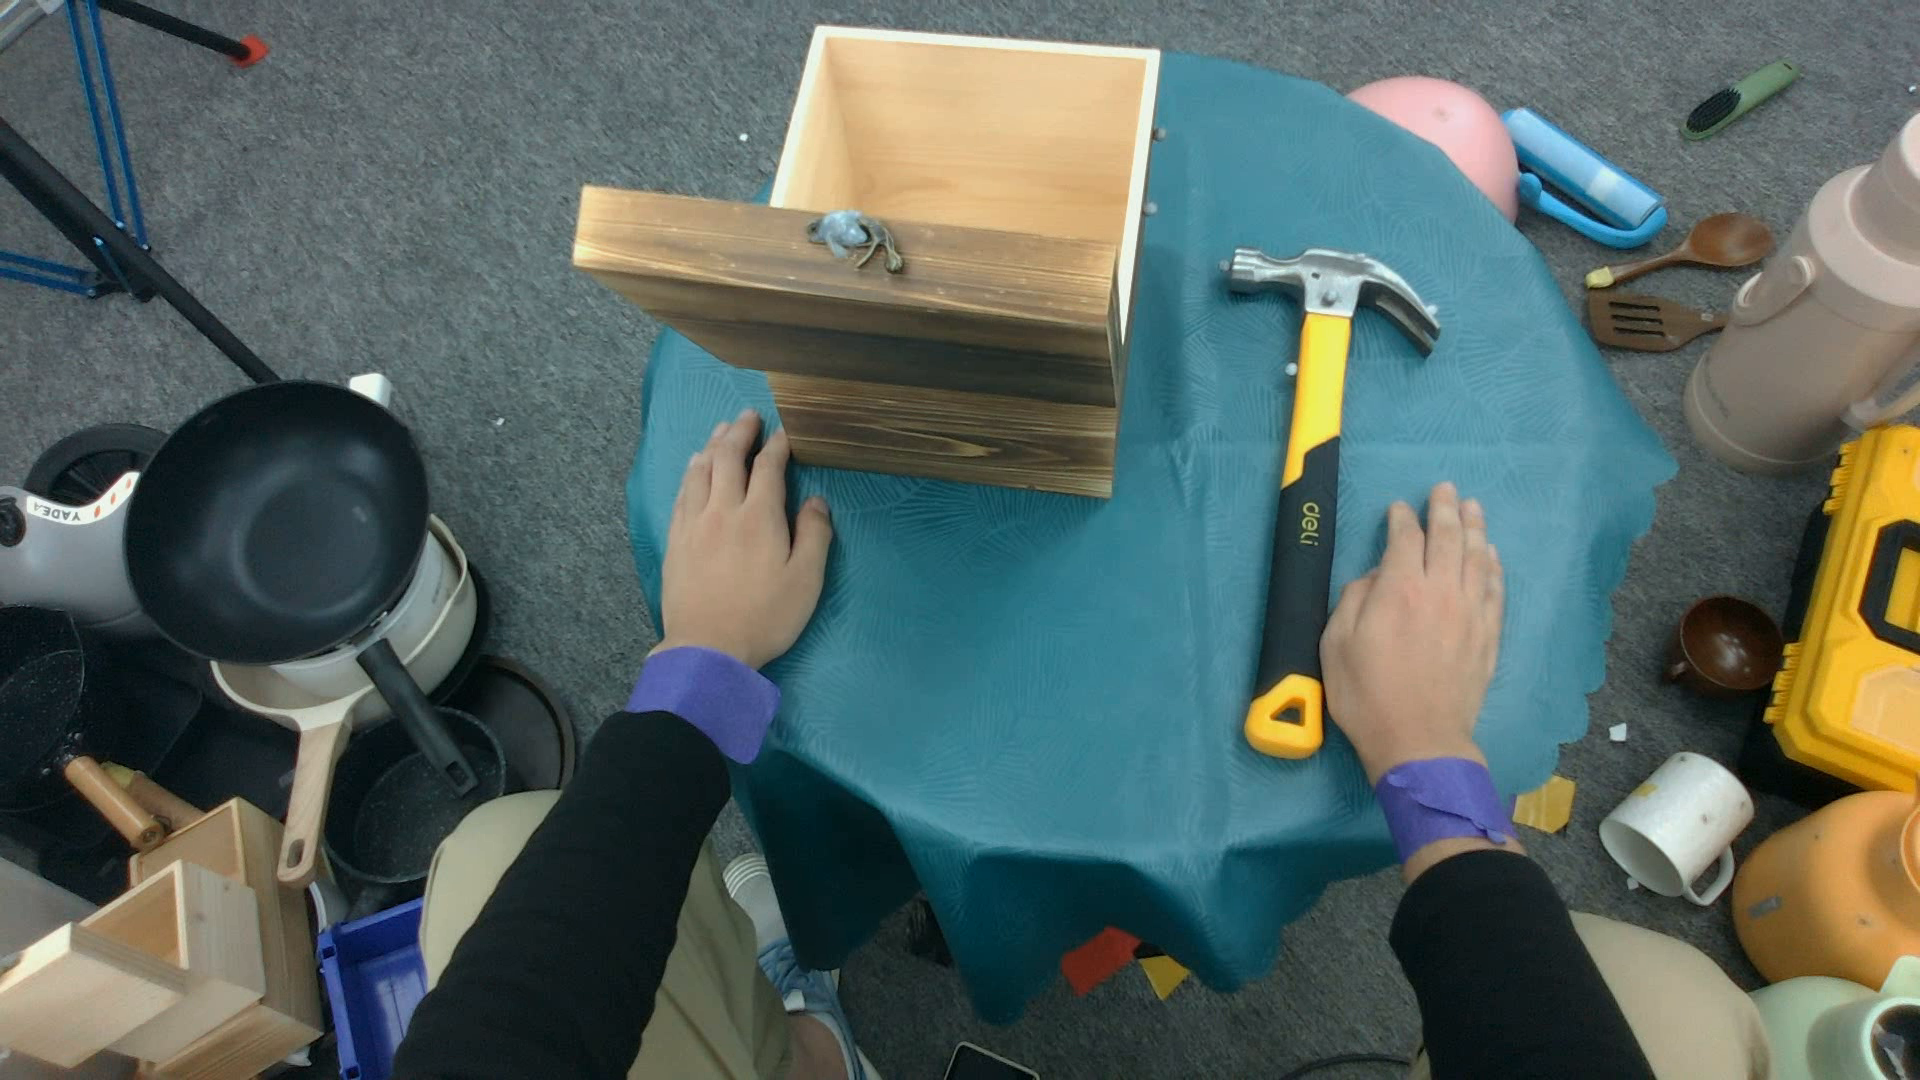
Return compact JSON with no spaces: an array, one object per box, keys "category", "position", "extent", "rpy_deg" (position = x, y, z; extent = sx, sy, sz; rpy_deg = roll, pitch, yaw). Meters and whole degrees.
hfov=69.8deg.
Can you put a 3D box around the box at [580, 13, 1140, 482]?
[{"category":"box","position":[-0.017,-0.166,0.718],"extent":[0.208,0.374,0.323],"rpy_deg":[6,66,6]}]

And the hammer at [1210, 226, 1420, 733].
[{"category":"hammer","position":[0.200,-0.047,0.823],"extent":[0.131,0.032,0.340],"rpy_deg":[8,64,8]}]
